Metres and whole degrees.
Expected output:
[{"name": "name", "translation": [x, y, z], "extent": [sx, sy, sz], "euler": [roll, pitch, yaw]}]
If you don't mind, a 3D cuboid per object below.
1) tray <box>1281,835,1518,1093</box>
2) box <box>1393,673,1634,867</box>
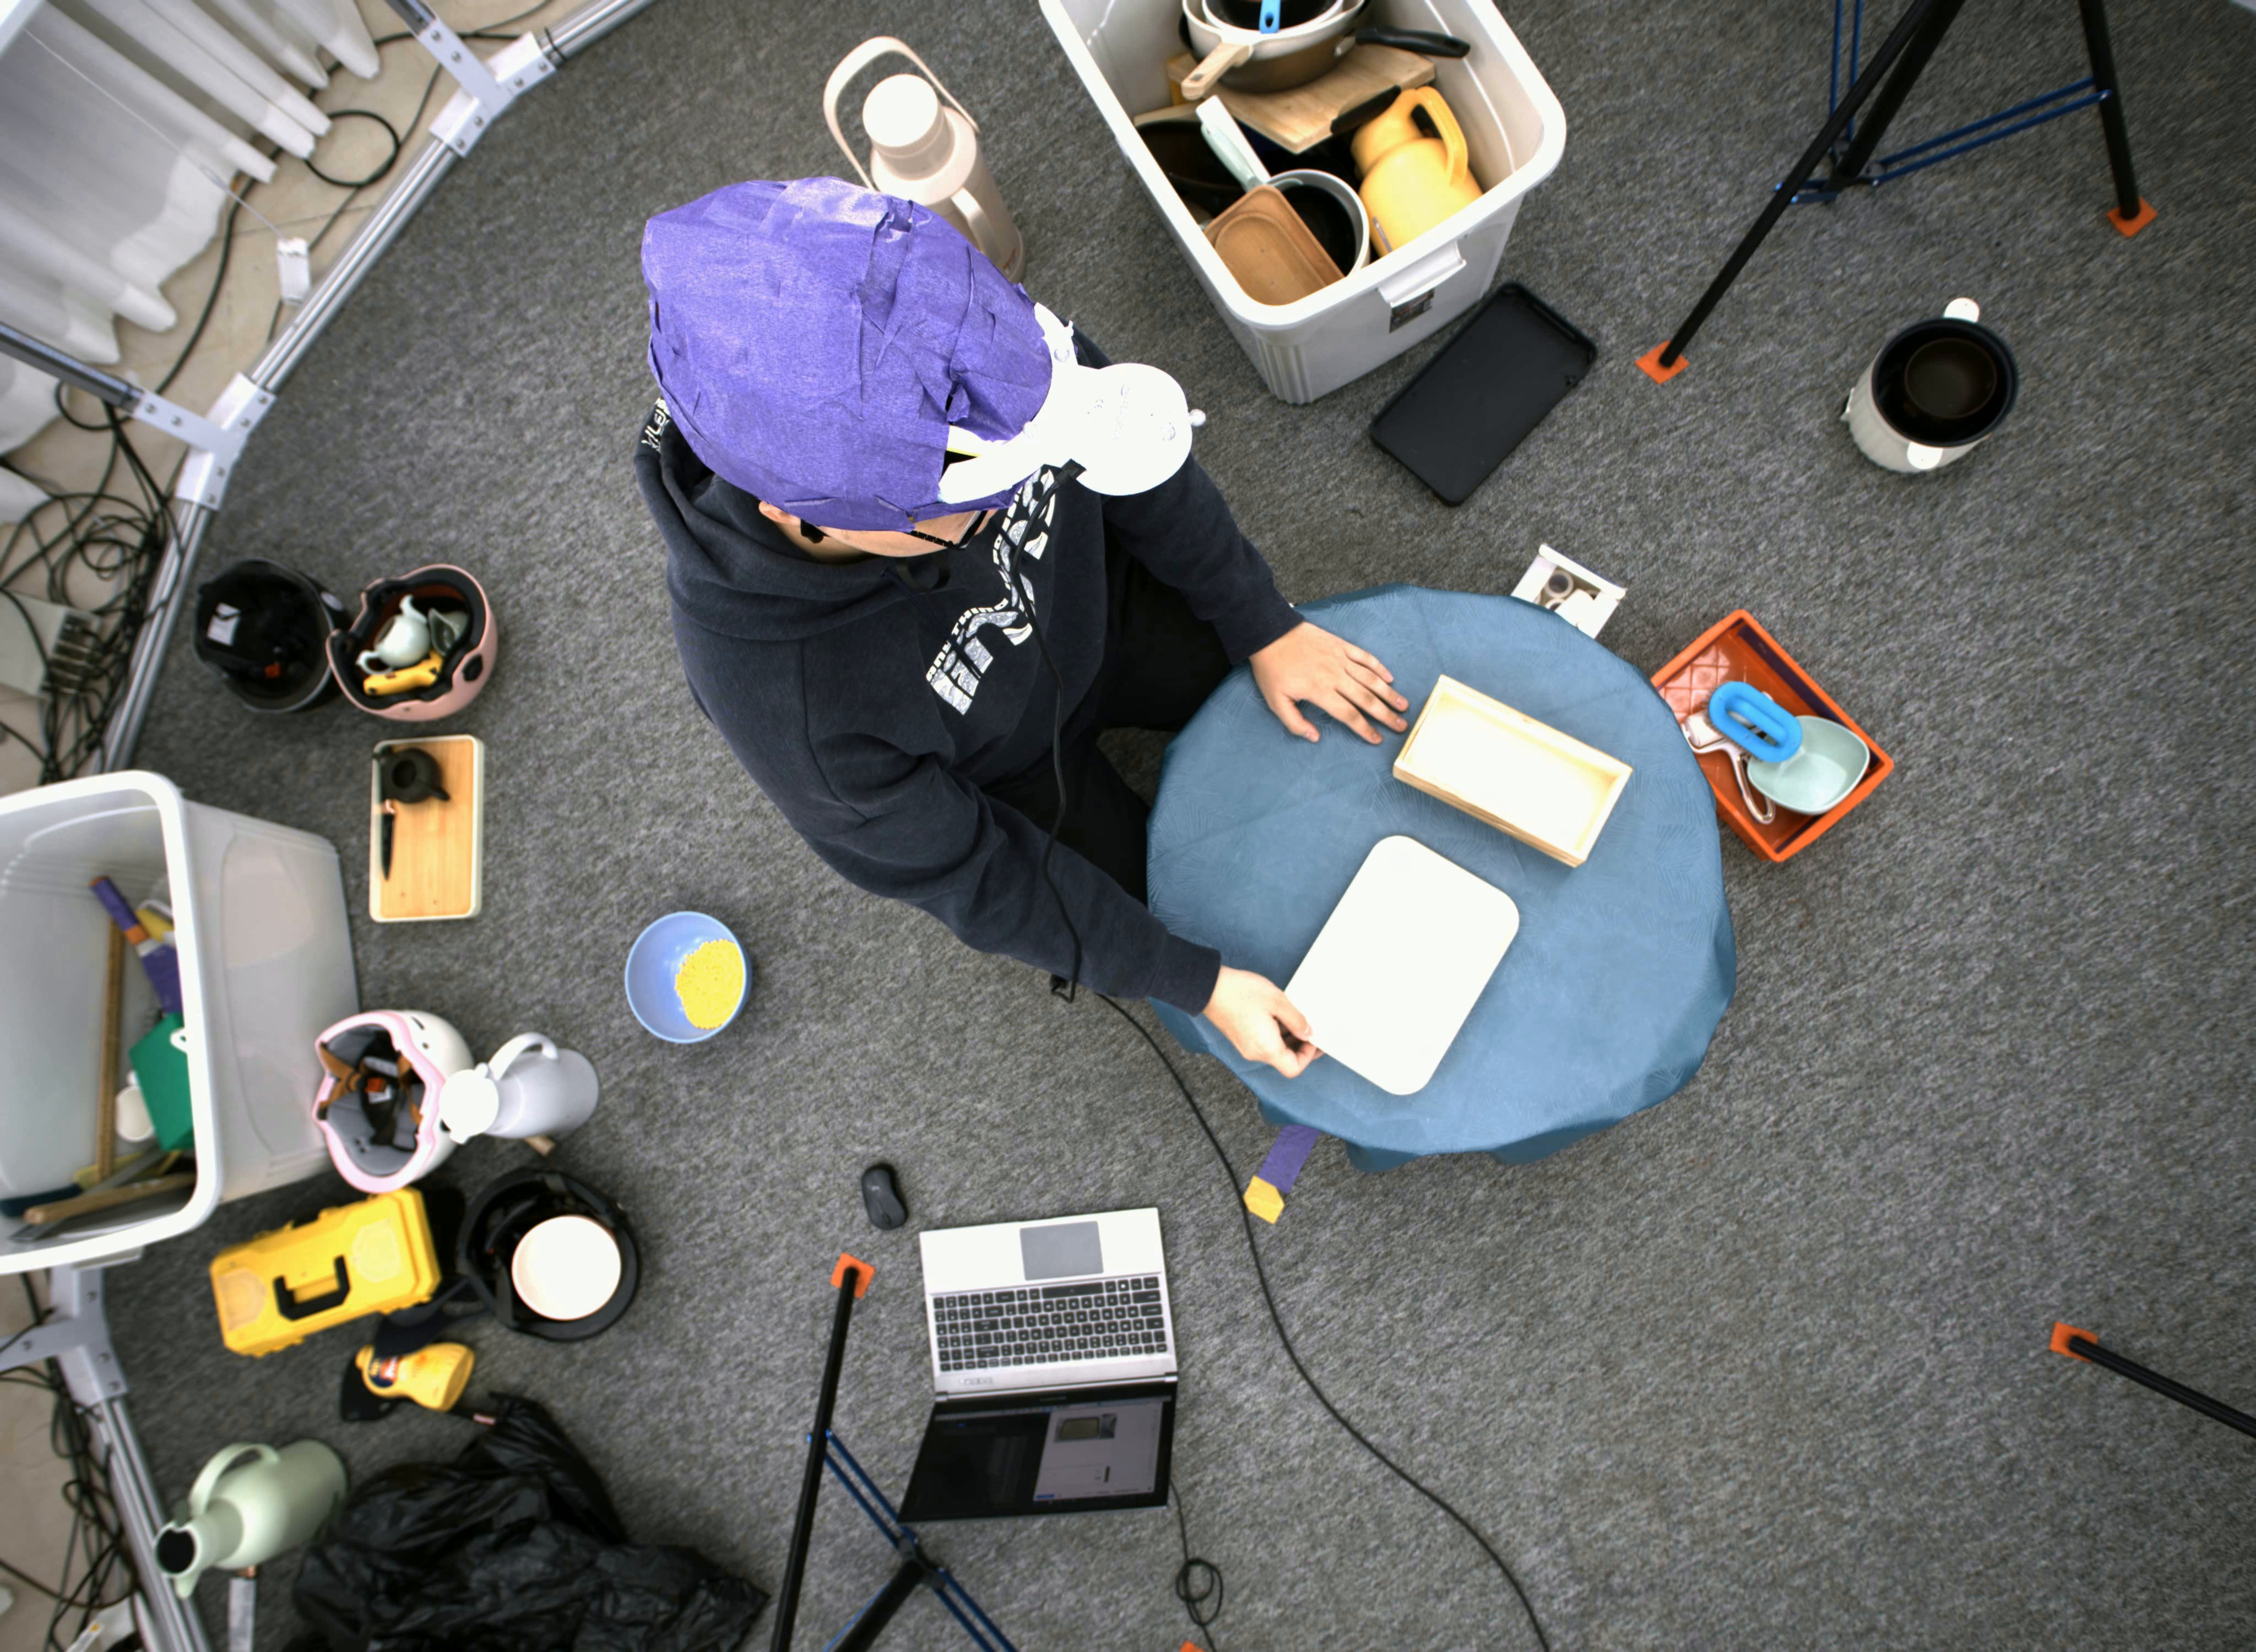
[{"name": "tray", "translation": [0.281, 0.140, 1.430], "extent": [0.171, 0.017, 0.238], "euler": [32, 84, 12]}, {"name": "box", "translation": [0.390, -0.058, 1.405], "extent": [0.211, 0.080, 0.107], "euler": [28, 90, 11]}]
